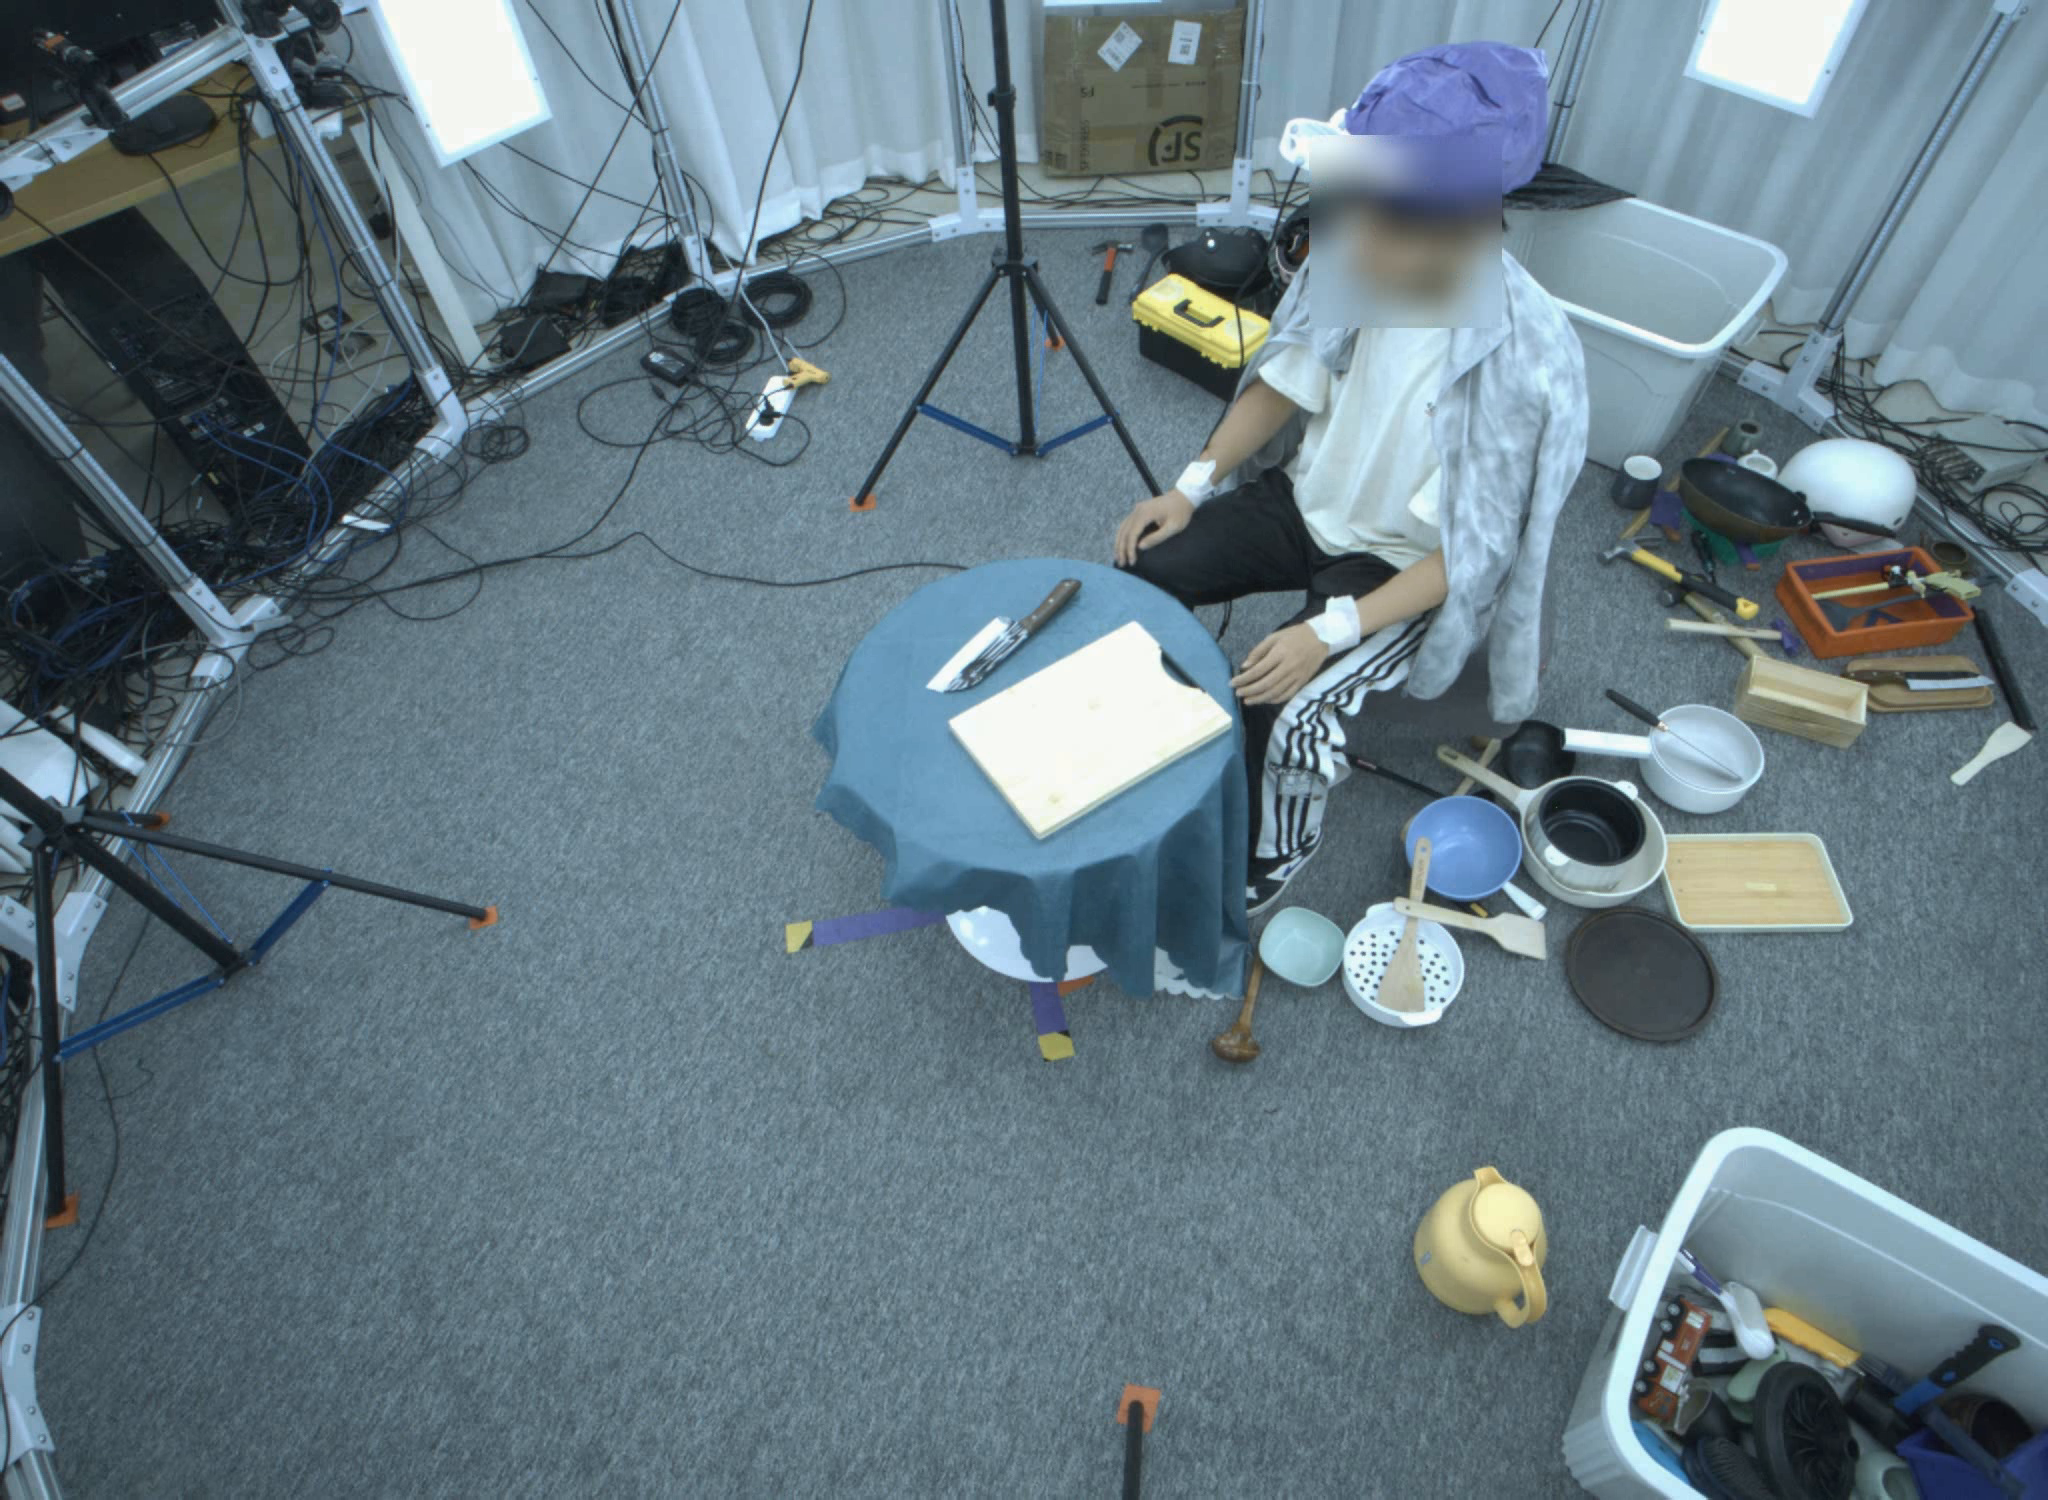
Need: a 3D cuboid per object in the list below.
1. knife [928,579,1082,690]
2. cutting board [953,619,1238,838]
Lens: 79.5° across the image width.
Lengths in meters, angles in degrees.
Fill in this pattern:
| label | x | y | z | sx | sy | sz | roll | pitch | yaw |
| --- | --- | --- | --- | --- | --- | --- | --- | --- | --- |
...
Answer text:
| label | x | y | z | sx | sy | sz | roll | pitch | yaw |
| --- | --- | --- | --- | --- | --- | --- | --- | --- | --- |
| knife | -0.028 | -0.181 | 1.907 | 0.067 | 0.024 | 0.301 | 36 | 66 | 26 |
| cutting board | 0.101 | -0.040 | 1.805 | 0.351 | 0.024 | 0.246 | -30 | 59 | -18 |
